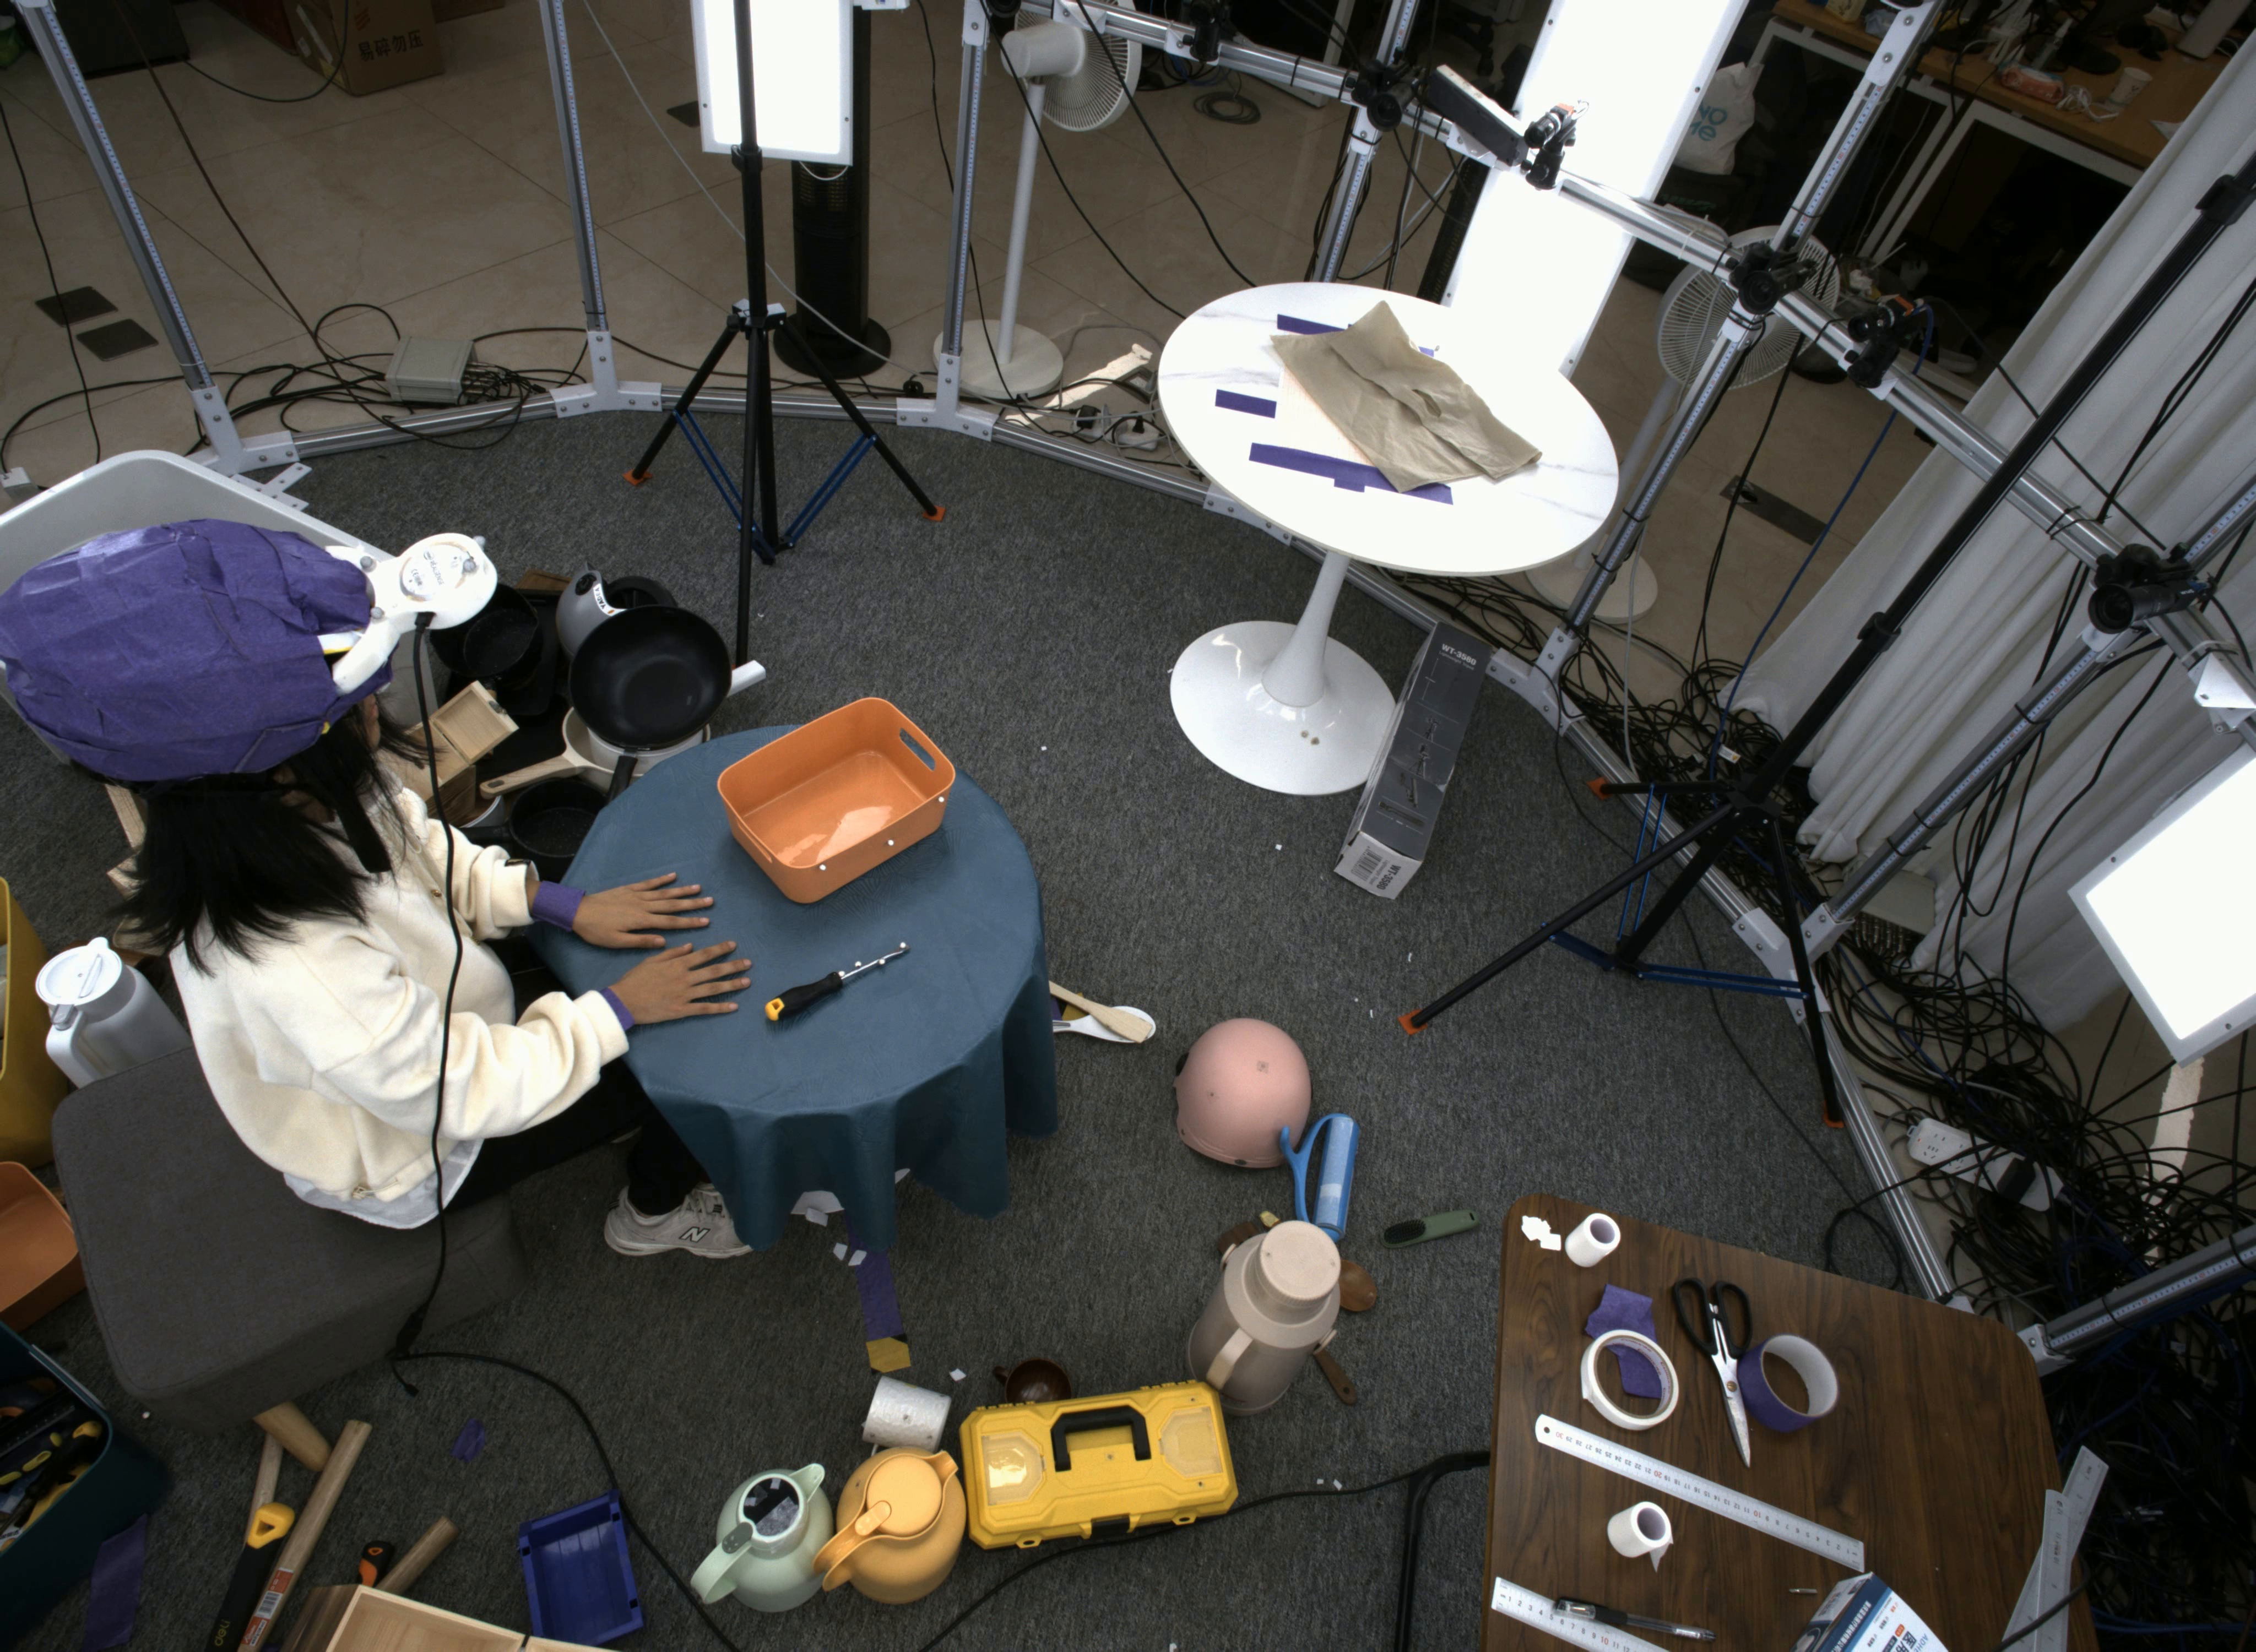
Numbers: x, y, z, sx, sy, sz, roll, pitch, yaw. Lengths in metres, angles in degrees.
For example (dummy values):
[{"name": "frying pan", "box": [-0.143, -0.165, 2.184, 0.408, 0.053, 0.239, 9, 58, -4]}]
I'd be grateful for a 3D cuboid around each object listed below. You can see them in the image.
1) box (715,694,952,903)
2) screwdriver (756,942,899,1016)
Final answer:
[{"name": "box", "box": [-0.381, -0.035, 1.689, 0.274, 0.104, 0.195, -34, 69, -33]}, {"name": "screwdriver", "box": [-0.363, 0.176, 1.574, 0.199, 0.032, 0.031, -26, 61, -40]}]
